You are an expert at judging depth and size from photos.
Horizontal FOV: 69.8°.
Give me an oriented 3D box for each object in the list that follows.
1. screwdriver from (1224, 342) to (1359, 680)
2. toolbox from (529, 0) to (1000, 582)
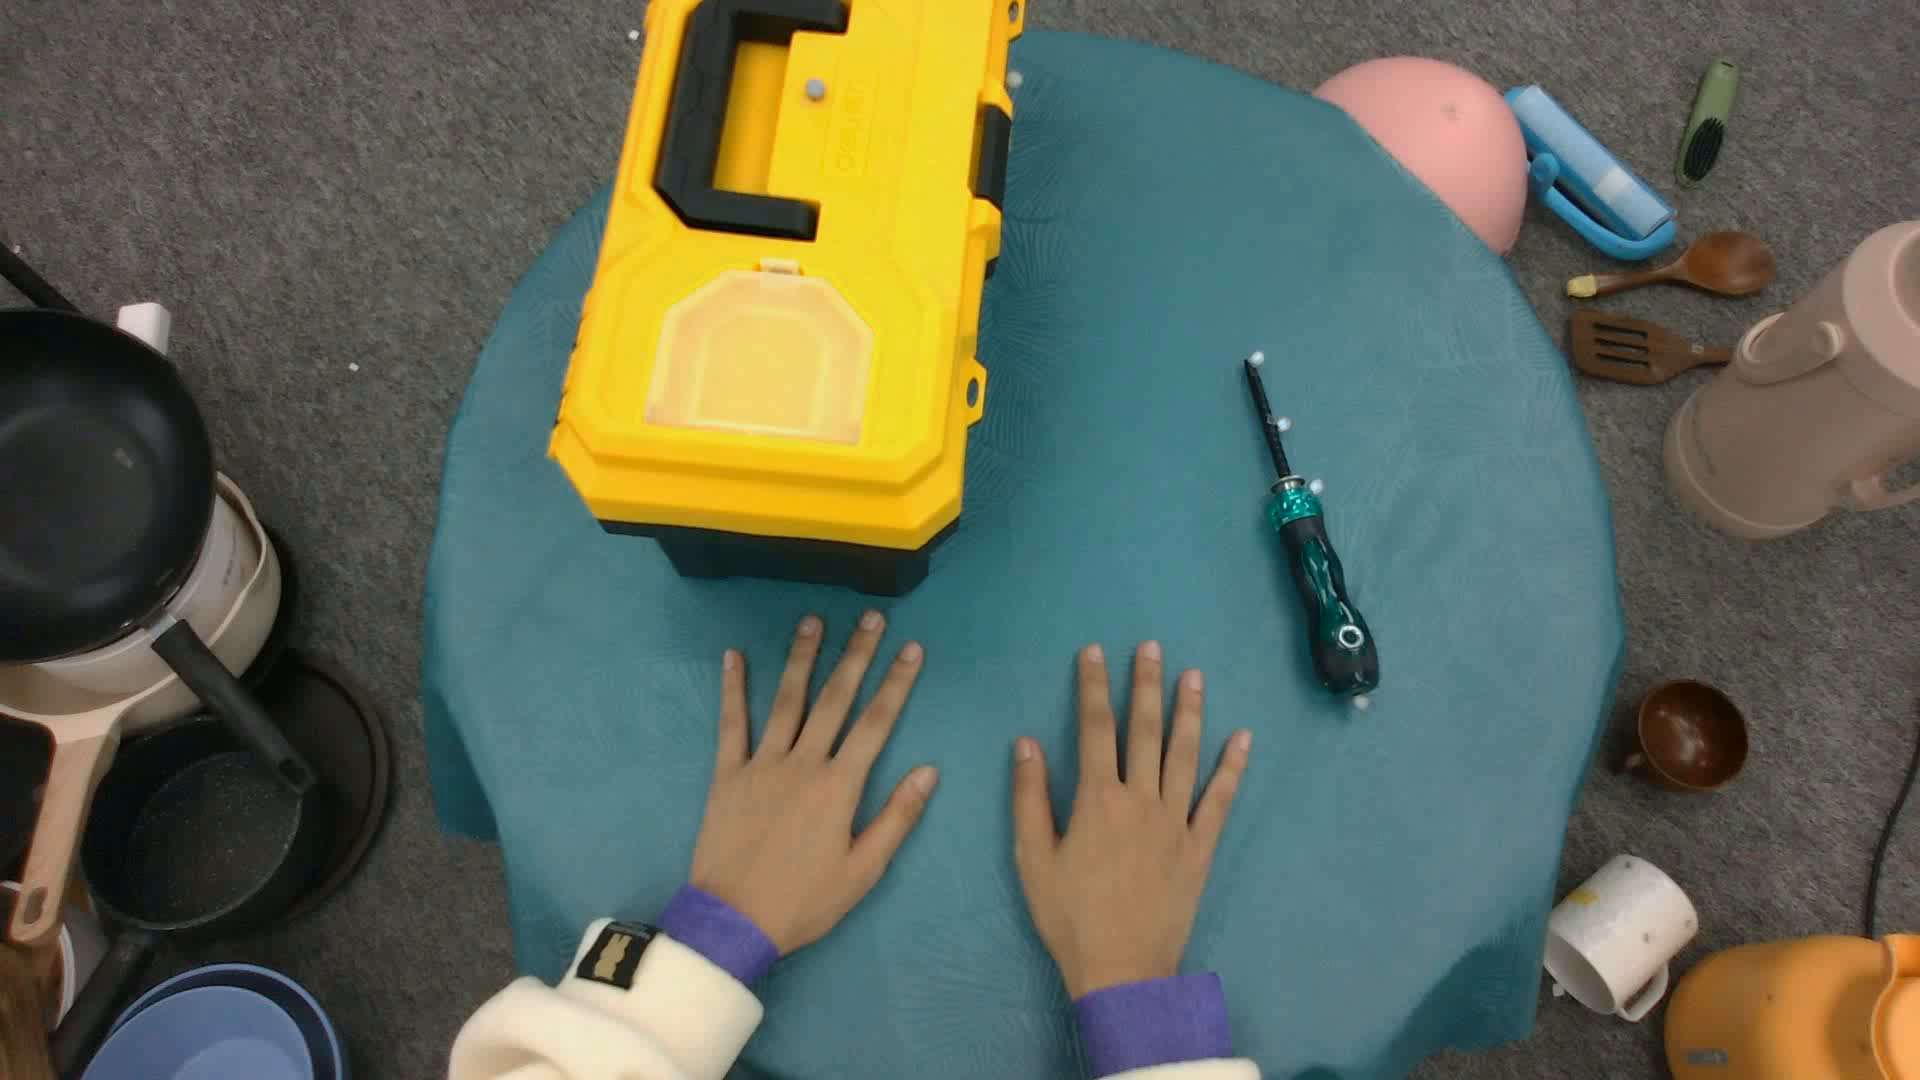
[{"bbox_3d":[0.161,-0.020,0.698,0.034,0.033,0.190,-10,65,-6],"label":"screwdriver"},{"bbox_3d":[-0.078,-0.159,0.661,0.181,0.172,0.352,6,69,0],"label":"toolbox"}]
